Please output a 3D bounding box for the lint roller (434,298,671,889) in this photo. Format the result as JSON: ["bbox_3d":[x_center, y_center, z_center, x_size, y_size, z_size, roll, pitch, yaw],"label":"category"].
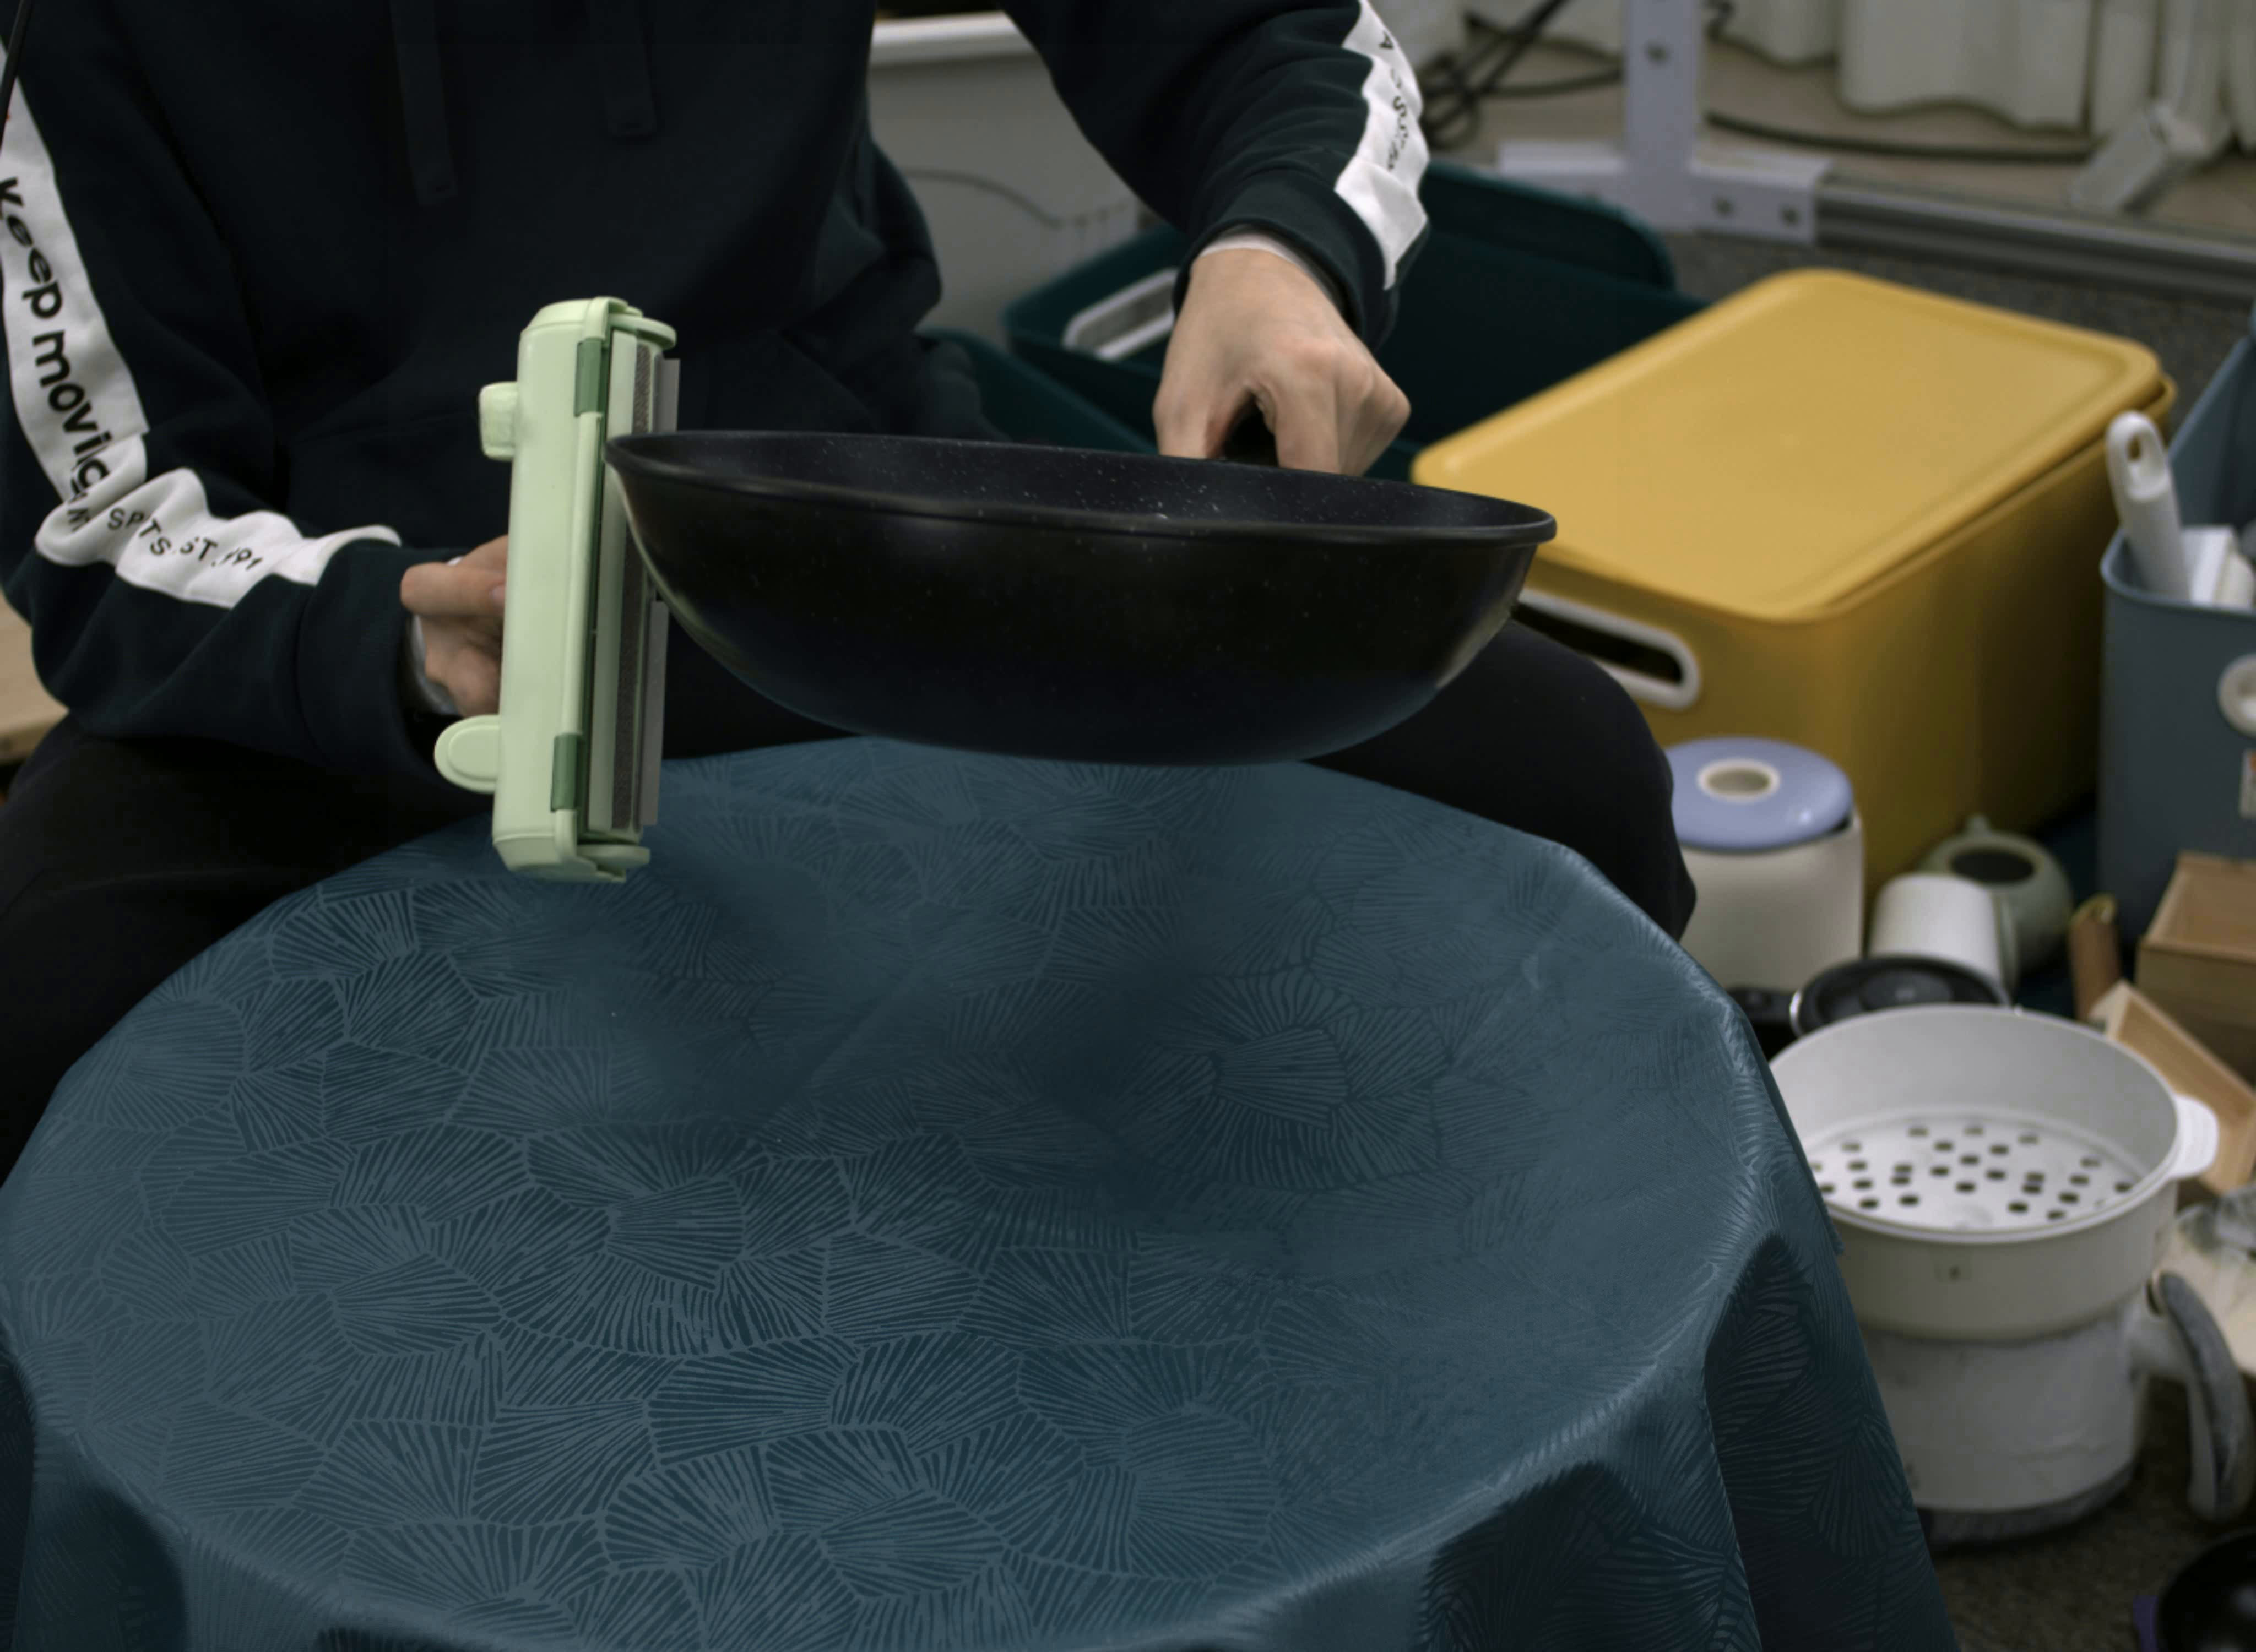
[{"bbox_3d":[-0.210,-0.072,1.967,0.082,0.200,0.181,5,-10,-19],"label":"lint roller"}]

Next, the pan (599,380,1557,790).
[{"bbox_3d":[0.007,-0.087,1.892,0.308,0.111,0.480,8,8,17],"label":"pan"}]
